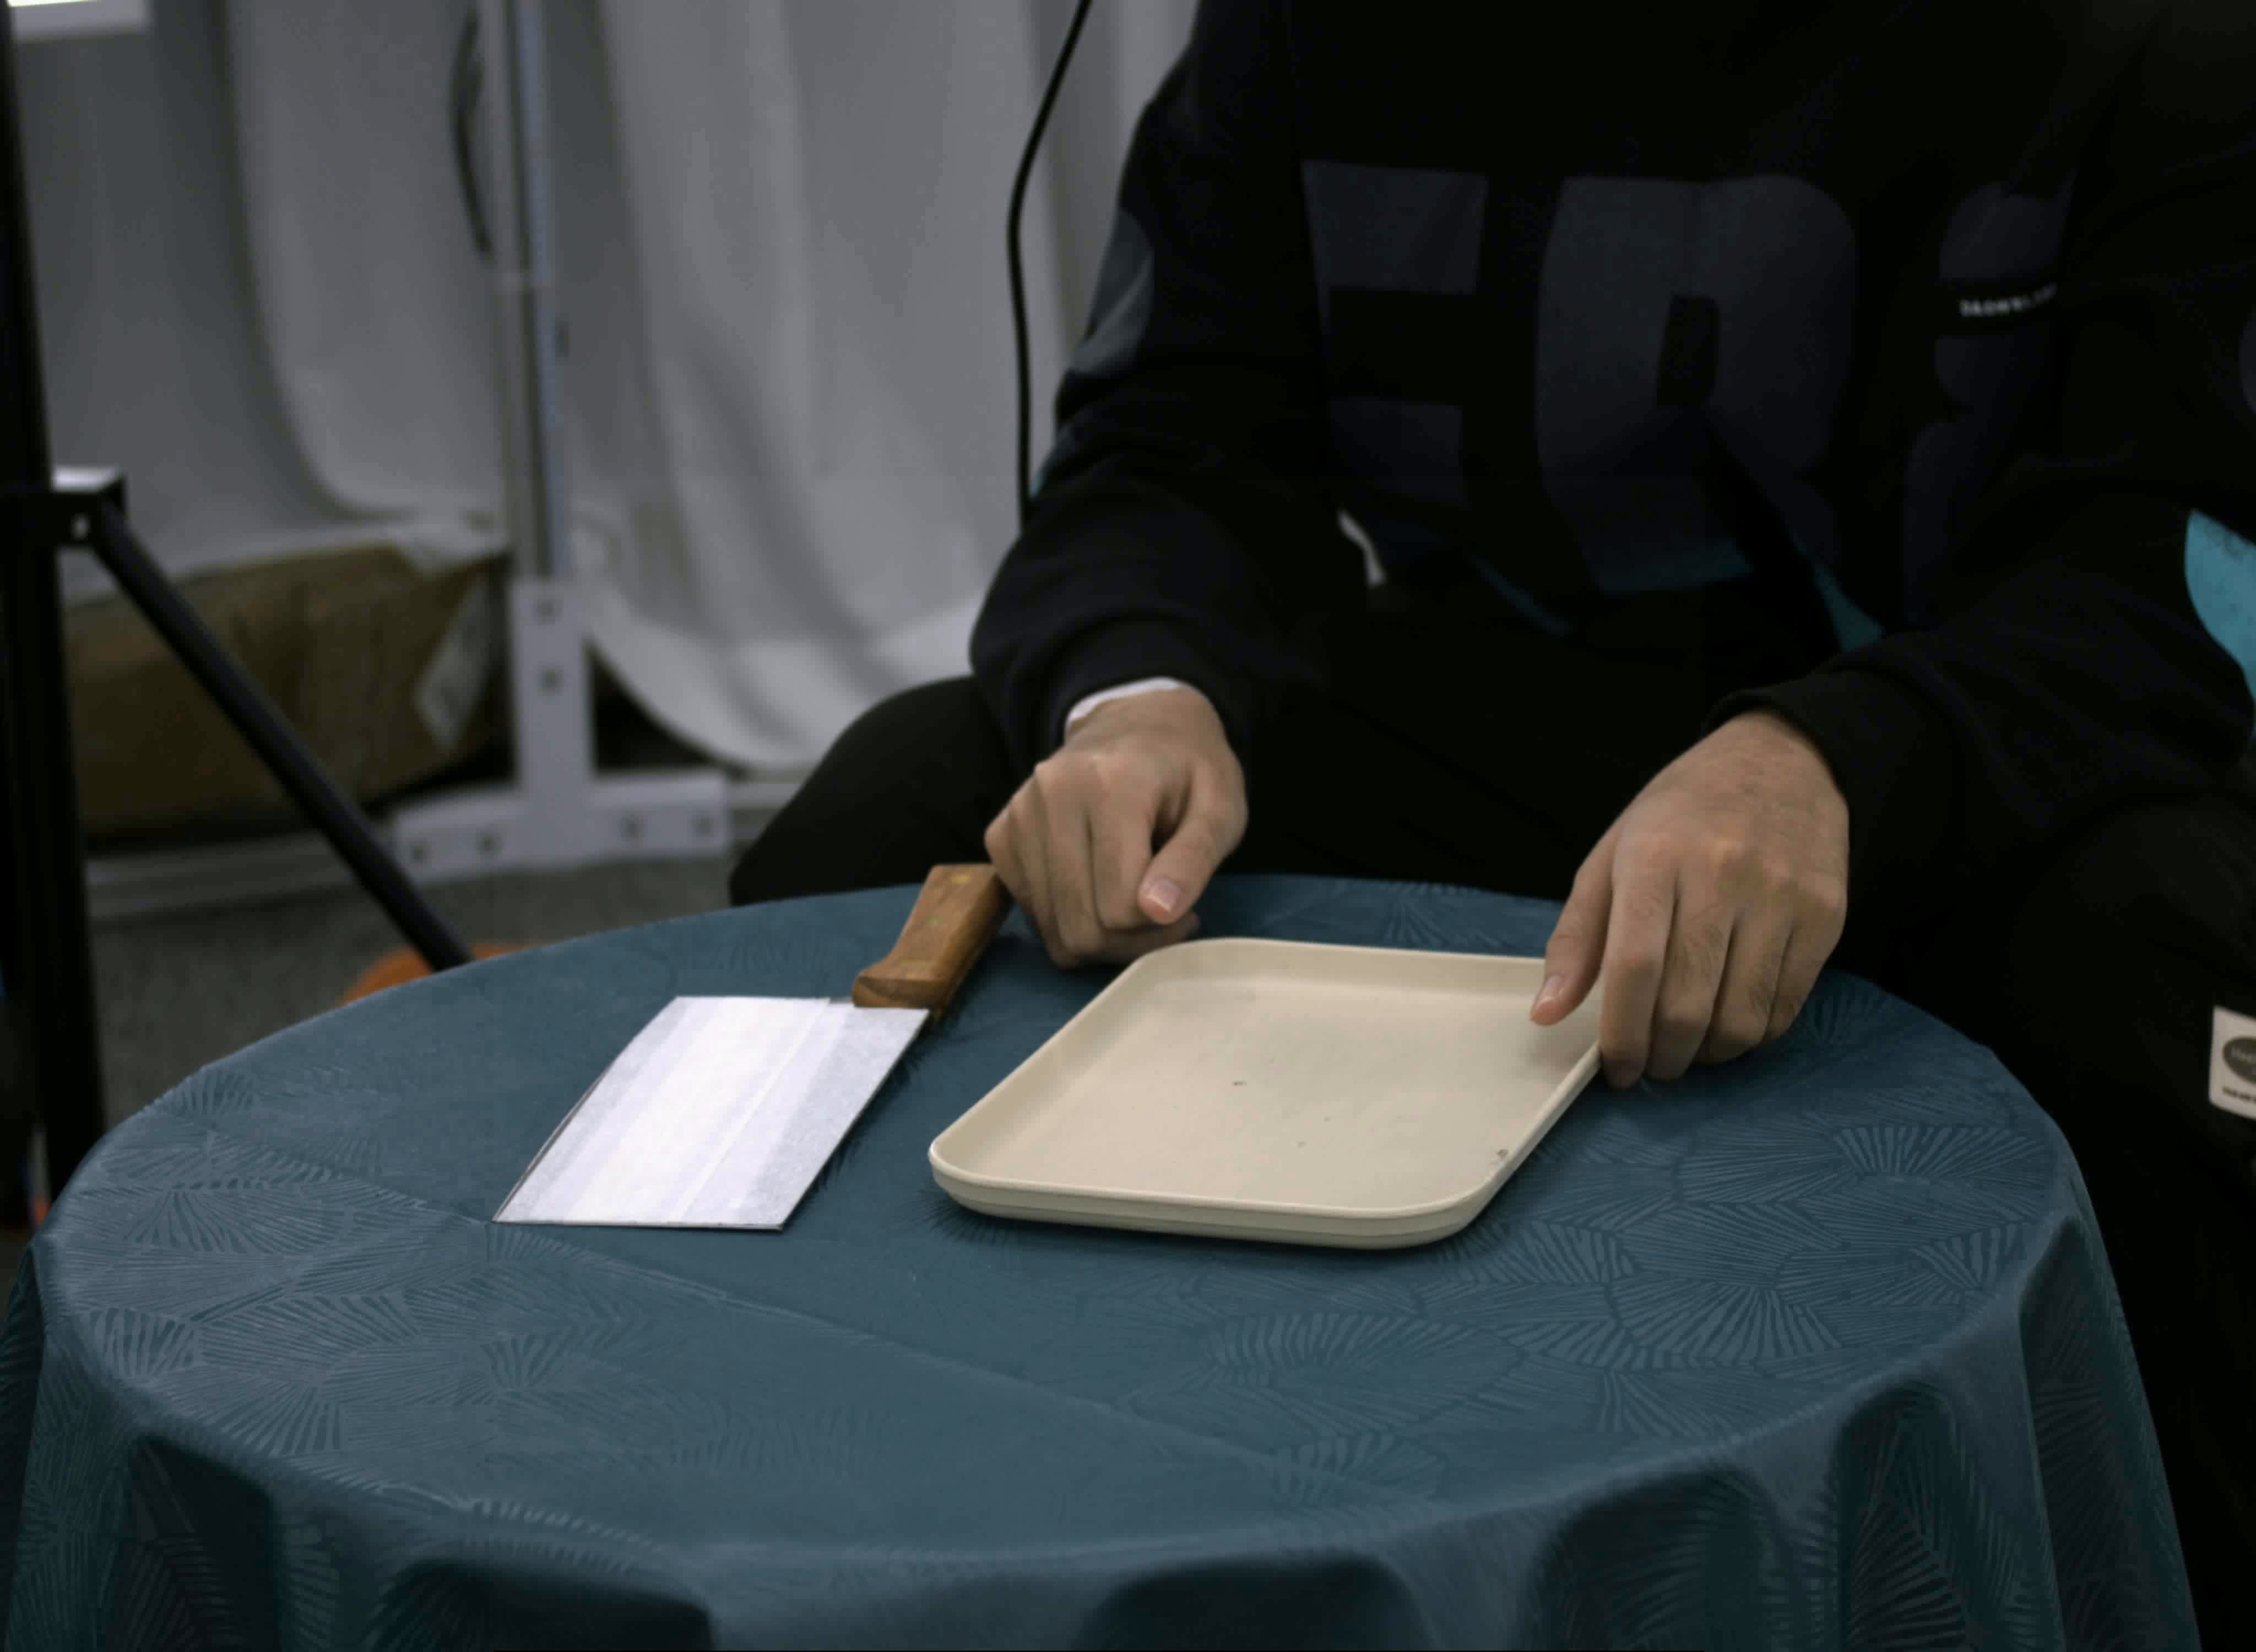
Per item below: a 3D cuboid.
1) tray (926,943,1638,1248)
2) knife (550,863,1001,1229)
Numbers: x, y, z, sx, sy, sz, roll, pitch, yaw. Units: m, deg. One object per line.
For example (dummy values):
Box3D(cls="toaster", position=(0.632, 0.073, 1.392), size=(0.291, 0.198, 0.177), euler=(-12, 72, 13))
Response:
Box3D(cls="tray", position=(0.051, 0.081, 1.612), size=(0.173, 0.017, 0.237), euler=(3, 17, 21))
Box3D(cls="knife", position=(-0.110, 0.068, 1.689), size=(0.093, 0.021, 0.304), euler=(-1, 18, 13))
